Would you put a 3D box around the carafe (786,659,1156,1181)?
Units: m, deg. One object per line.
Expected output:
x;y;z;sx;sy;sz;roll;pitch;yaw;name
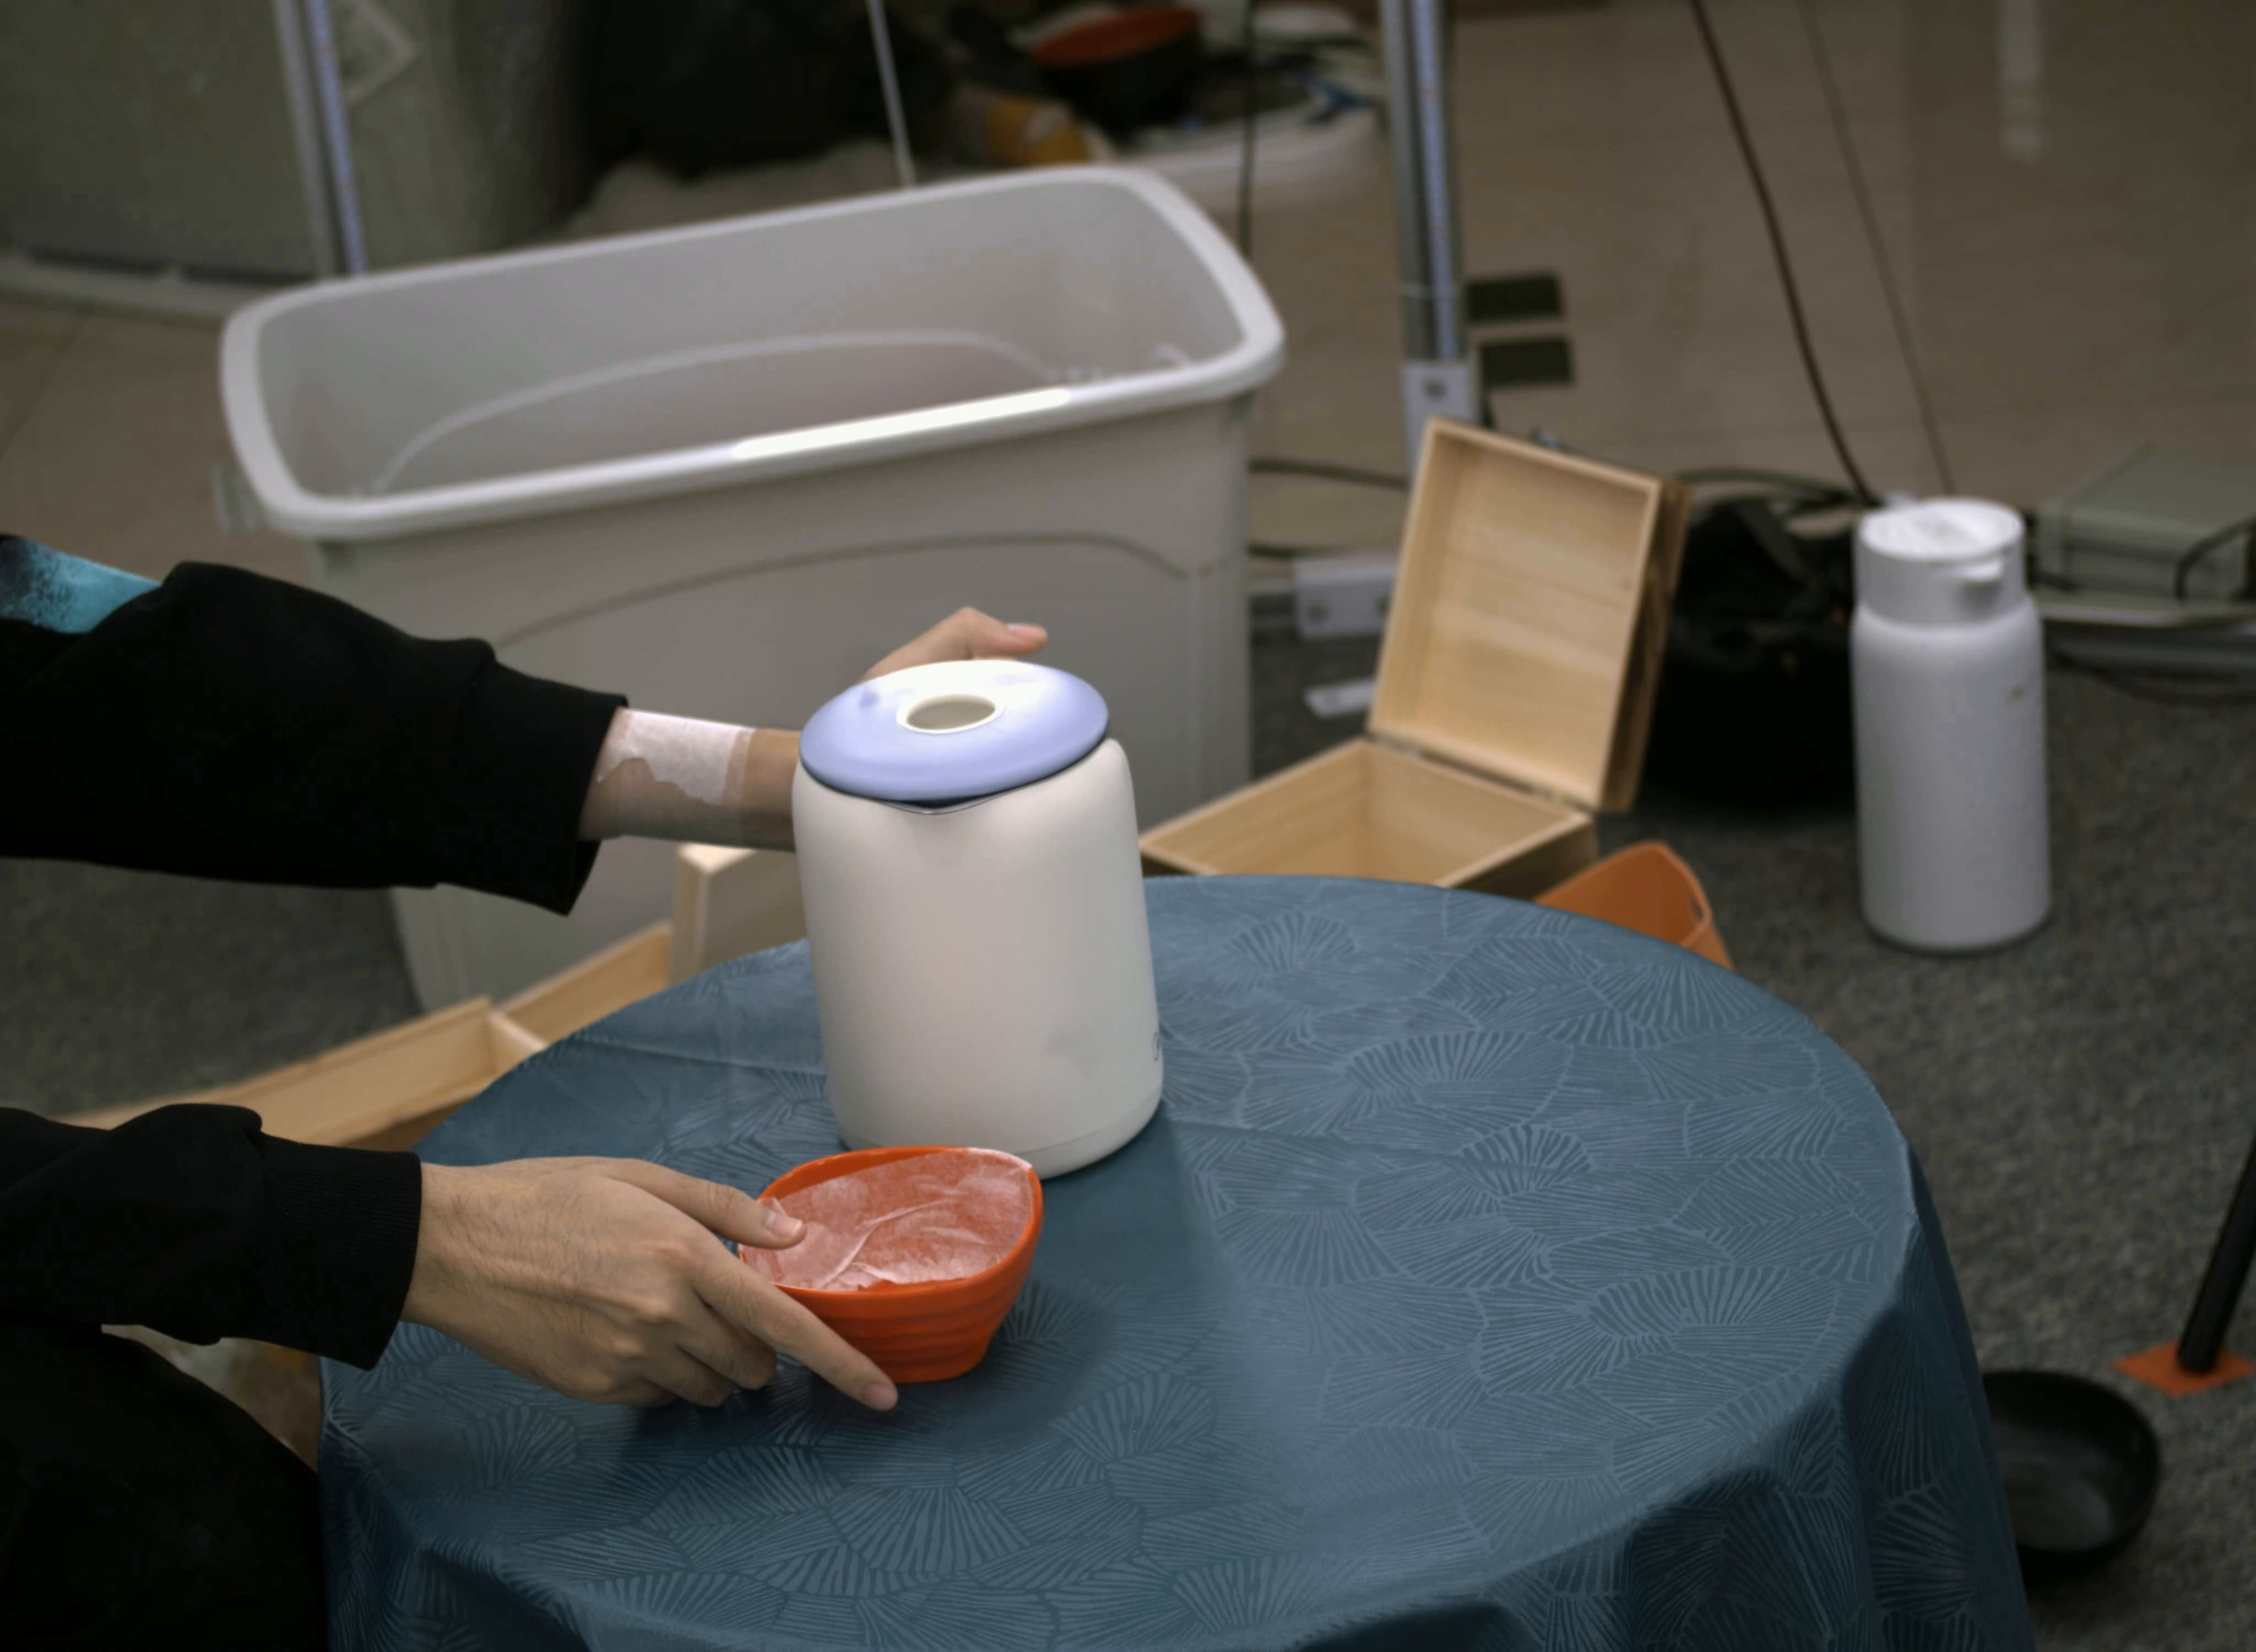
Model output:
-0.059;0.028;2.193;0.132;0.185;0.188;-3;23;3;carafe

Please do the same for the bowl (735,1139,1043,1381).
-0.084;0.161;2.052;0.119;0.052;0.117;-3;28;2;bowl
